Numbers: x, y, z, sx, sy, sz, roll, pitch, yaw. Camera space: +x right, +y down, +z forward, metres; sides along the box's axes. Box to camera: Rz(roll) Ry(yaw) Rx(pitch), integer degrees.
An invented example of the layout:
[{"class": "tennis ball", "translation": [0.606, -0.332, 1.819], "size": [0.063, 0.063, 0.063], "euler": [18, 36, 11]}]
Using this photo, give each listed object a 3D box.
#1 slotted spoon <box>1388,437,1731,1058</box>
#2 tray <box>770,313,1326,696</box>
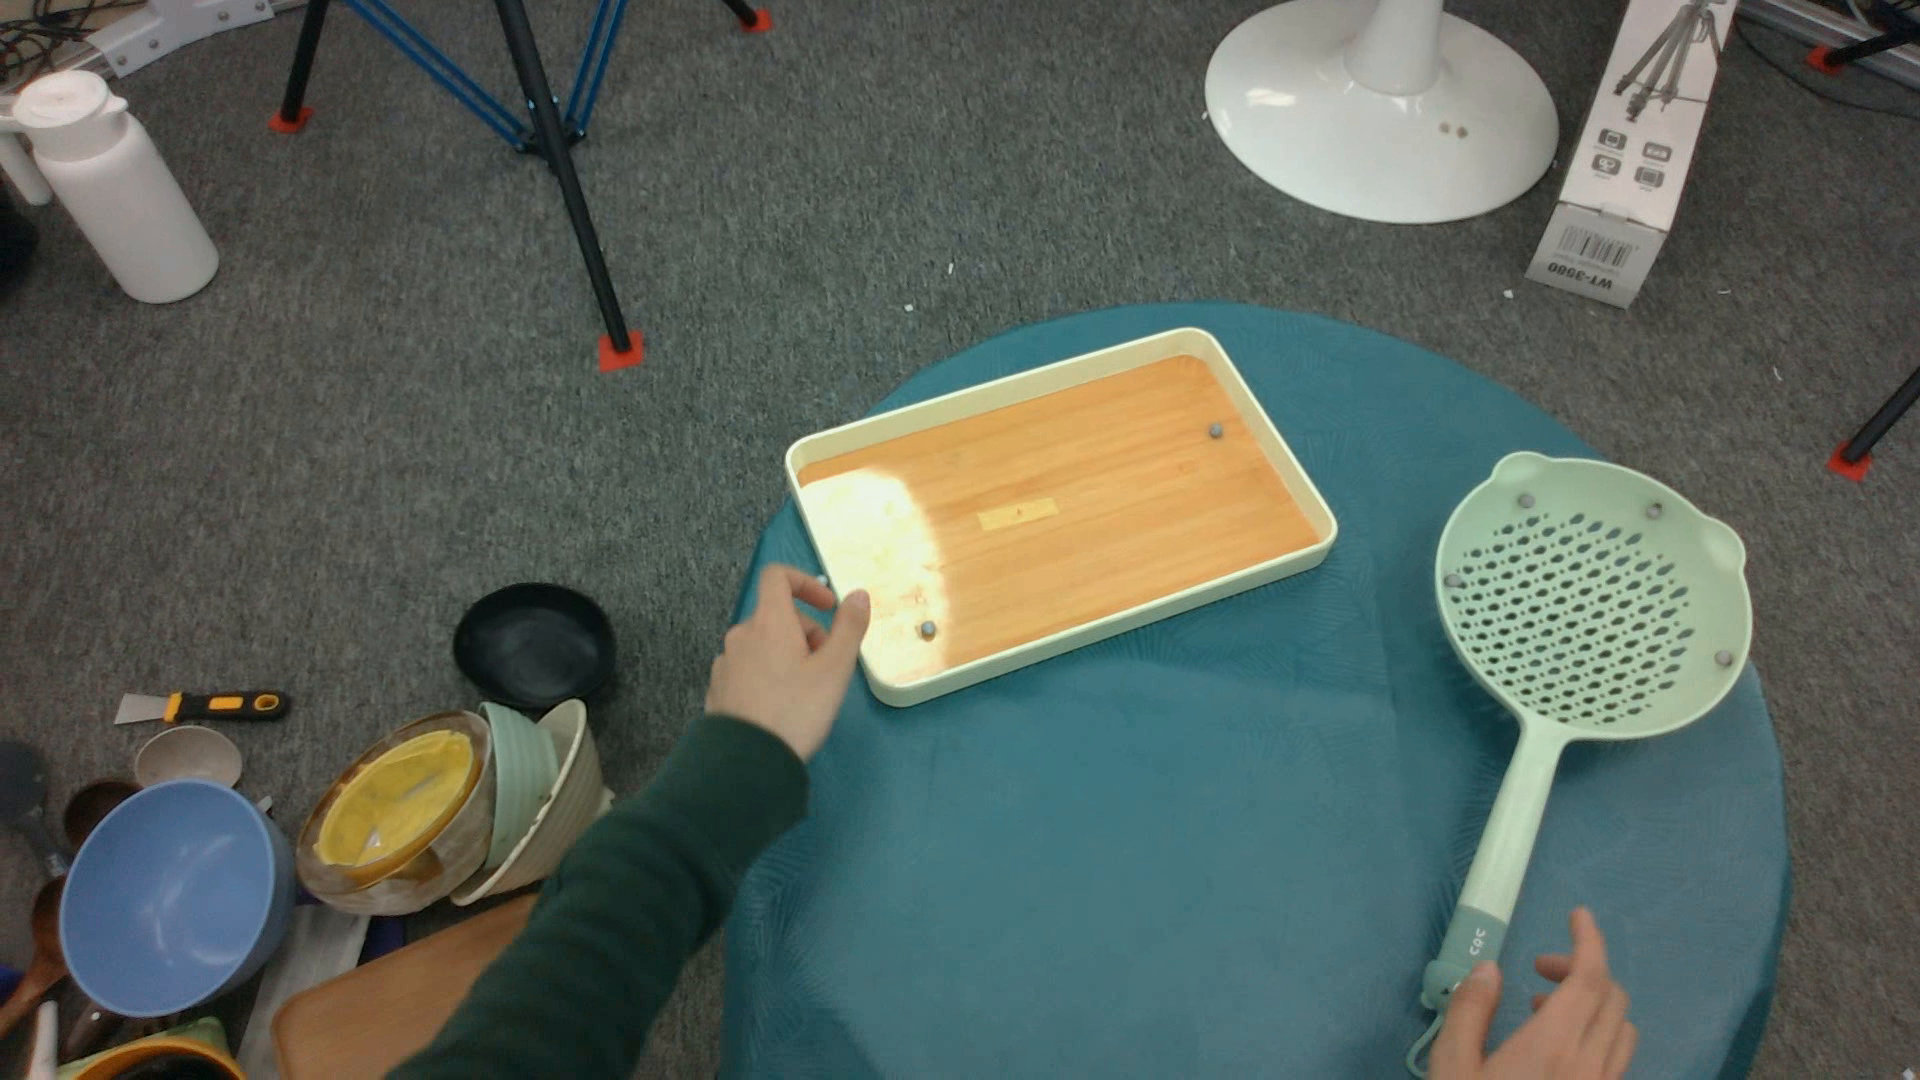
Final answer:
[{"class": "slotted spoon", "translation": [0.300, 0.104, 0.741], "size": [0.169, 0.075, 0.360], "euler": [23, 58, 13]}, {"class": "tray", "translation": [0.052, -0.031, 0.845], "size": [0.301, 0.027, 0.192], "euler": [-17, 59, -13]}]
